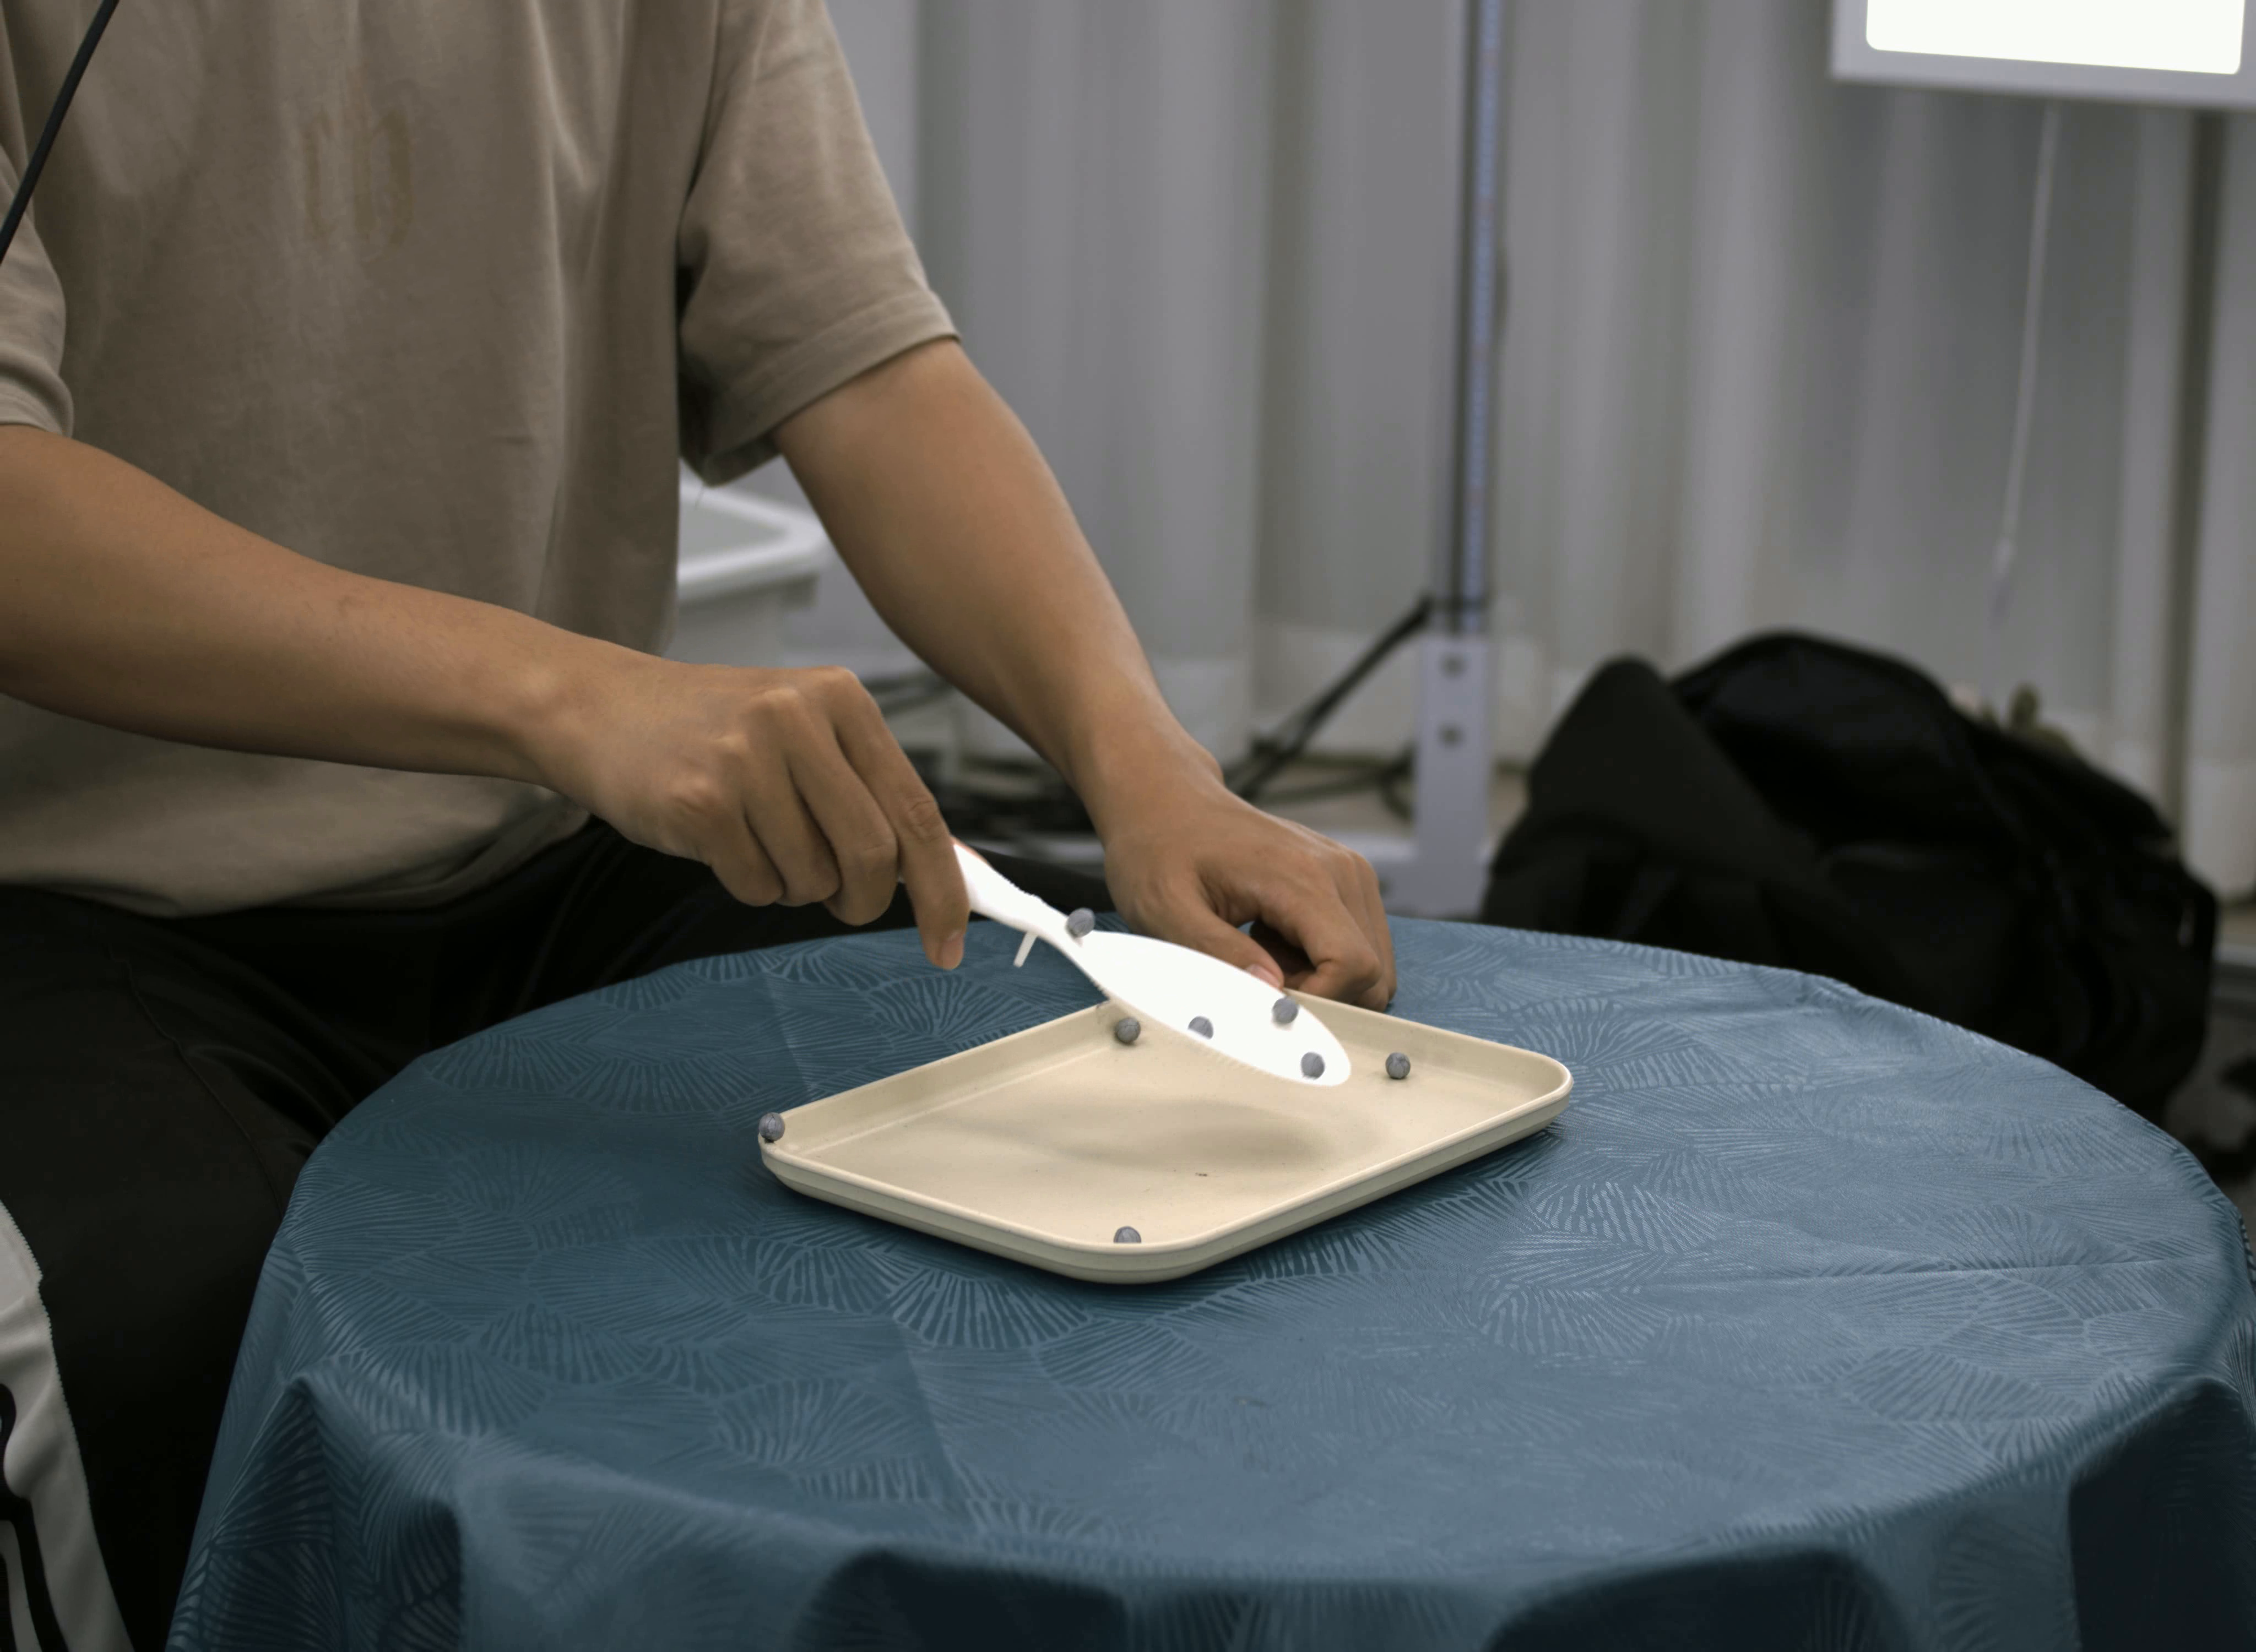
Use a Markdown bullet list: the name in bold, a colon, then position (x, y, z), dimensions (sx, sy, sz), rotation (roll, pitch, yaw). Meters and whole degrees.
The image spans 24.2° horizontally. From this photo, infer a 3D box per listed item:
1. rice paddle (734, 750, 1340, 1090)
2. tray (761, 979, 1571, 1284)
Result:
- **rice paddle**: position (-0.024, 0.032, 1.644), dimensions (0.205, 0.029, 0.068), rotation (25, 22, -5)
- **tray**: position (0.014, 0.095, 1.657), dimensions (0.169, 0.017, 0.241), rotation (14, 20, 37)
